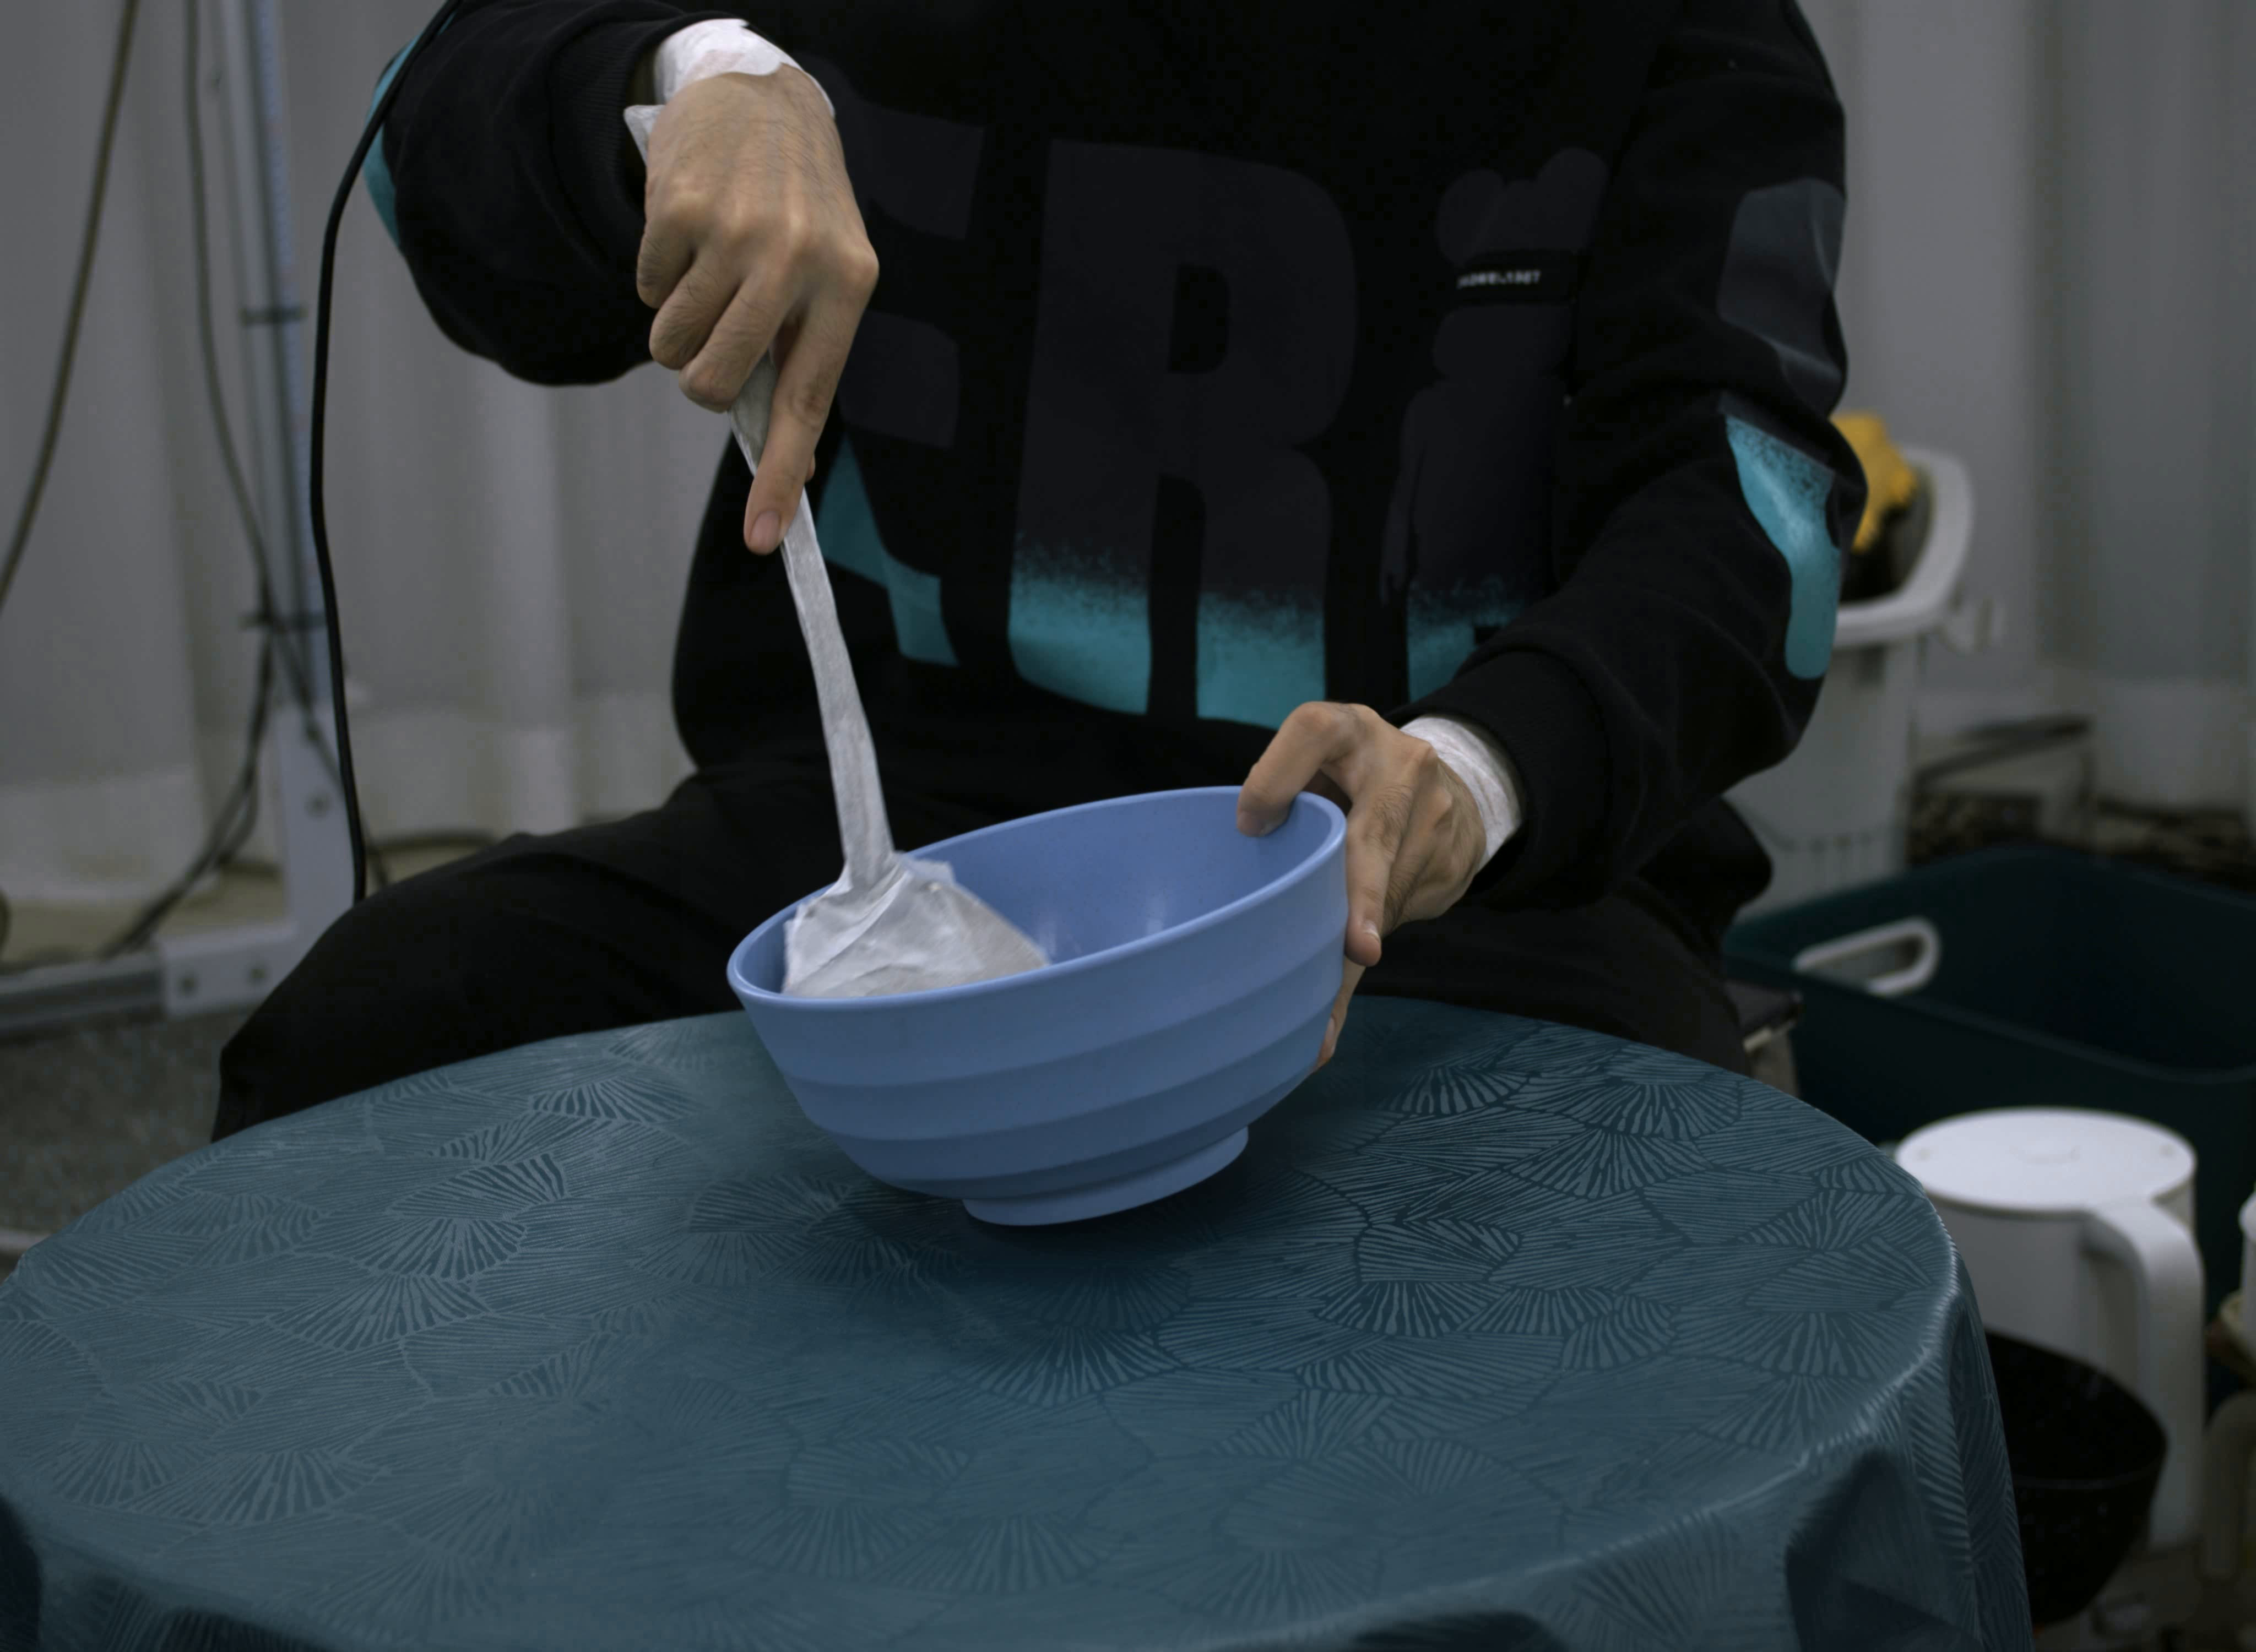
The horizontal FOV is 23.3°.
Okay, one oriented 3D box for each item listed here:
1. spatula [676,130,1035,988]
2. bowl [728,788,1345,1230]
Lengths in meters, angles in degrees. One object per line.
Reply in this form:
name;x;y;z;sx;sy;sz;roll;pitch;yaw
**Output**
spatula;-0.094;-0.067;1.752;0.098;0.368;0.044;-6;-18;-30
bowl;-0.018;0.064;1.694;0.196;0.095;0.197;-15;13;3
